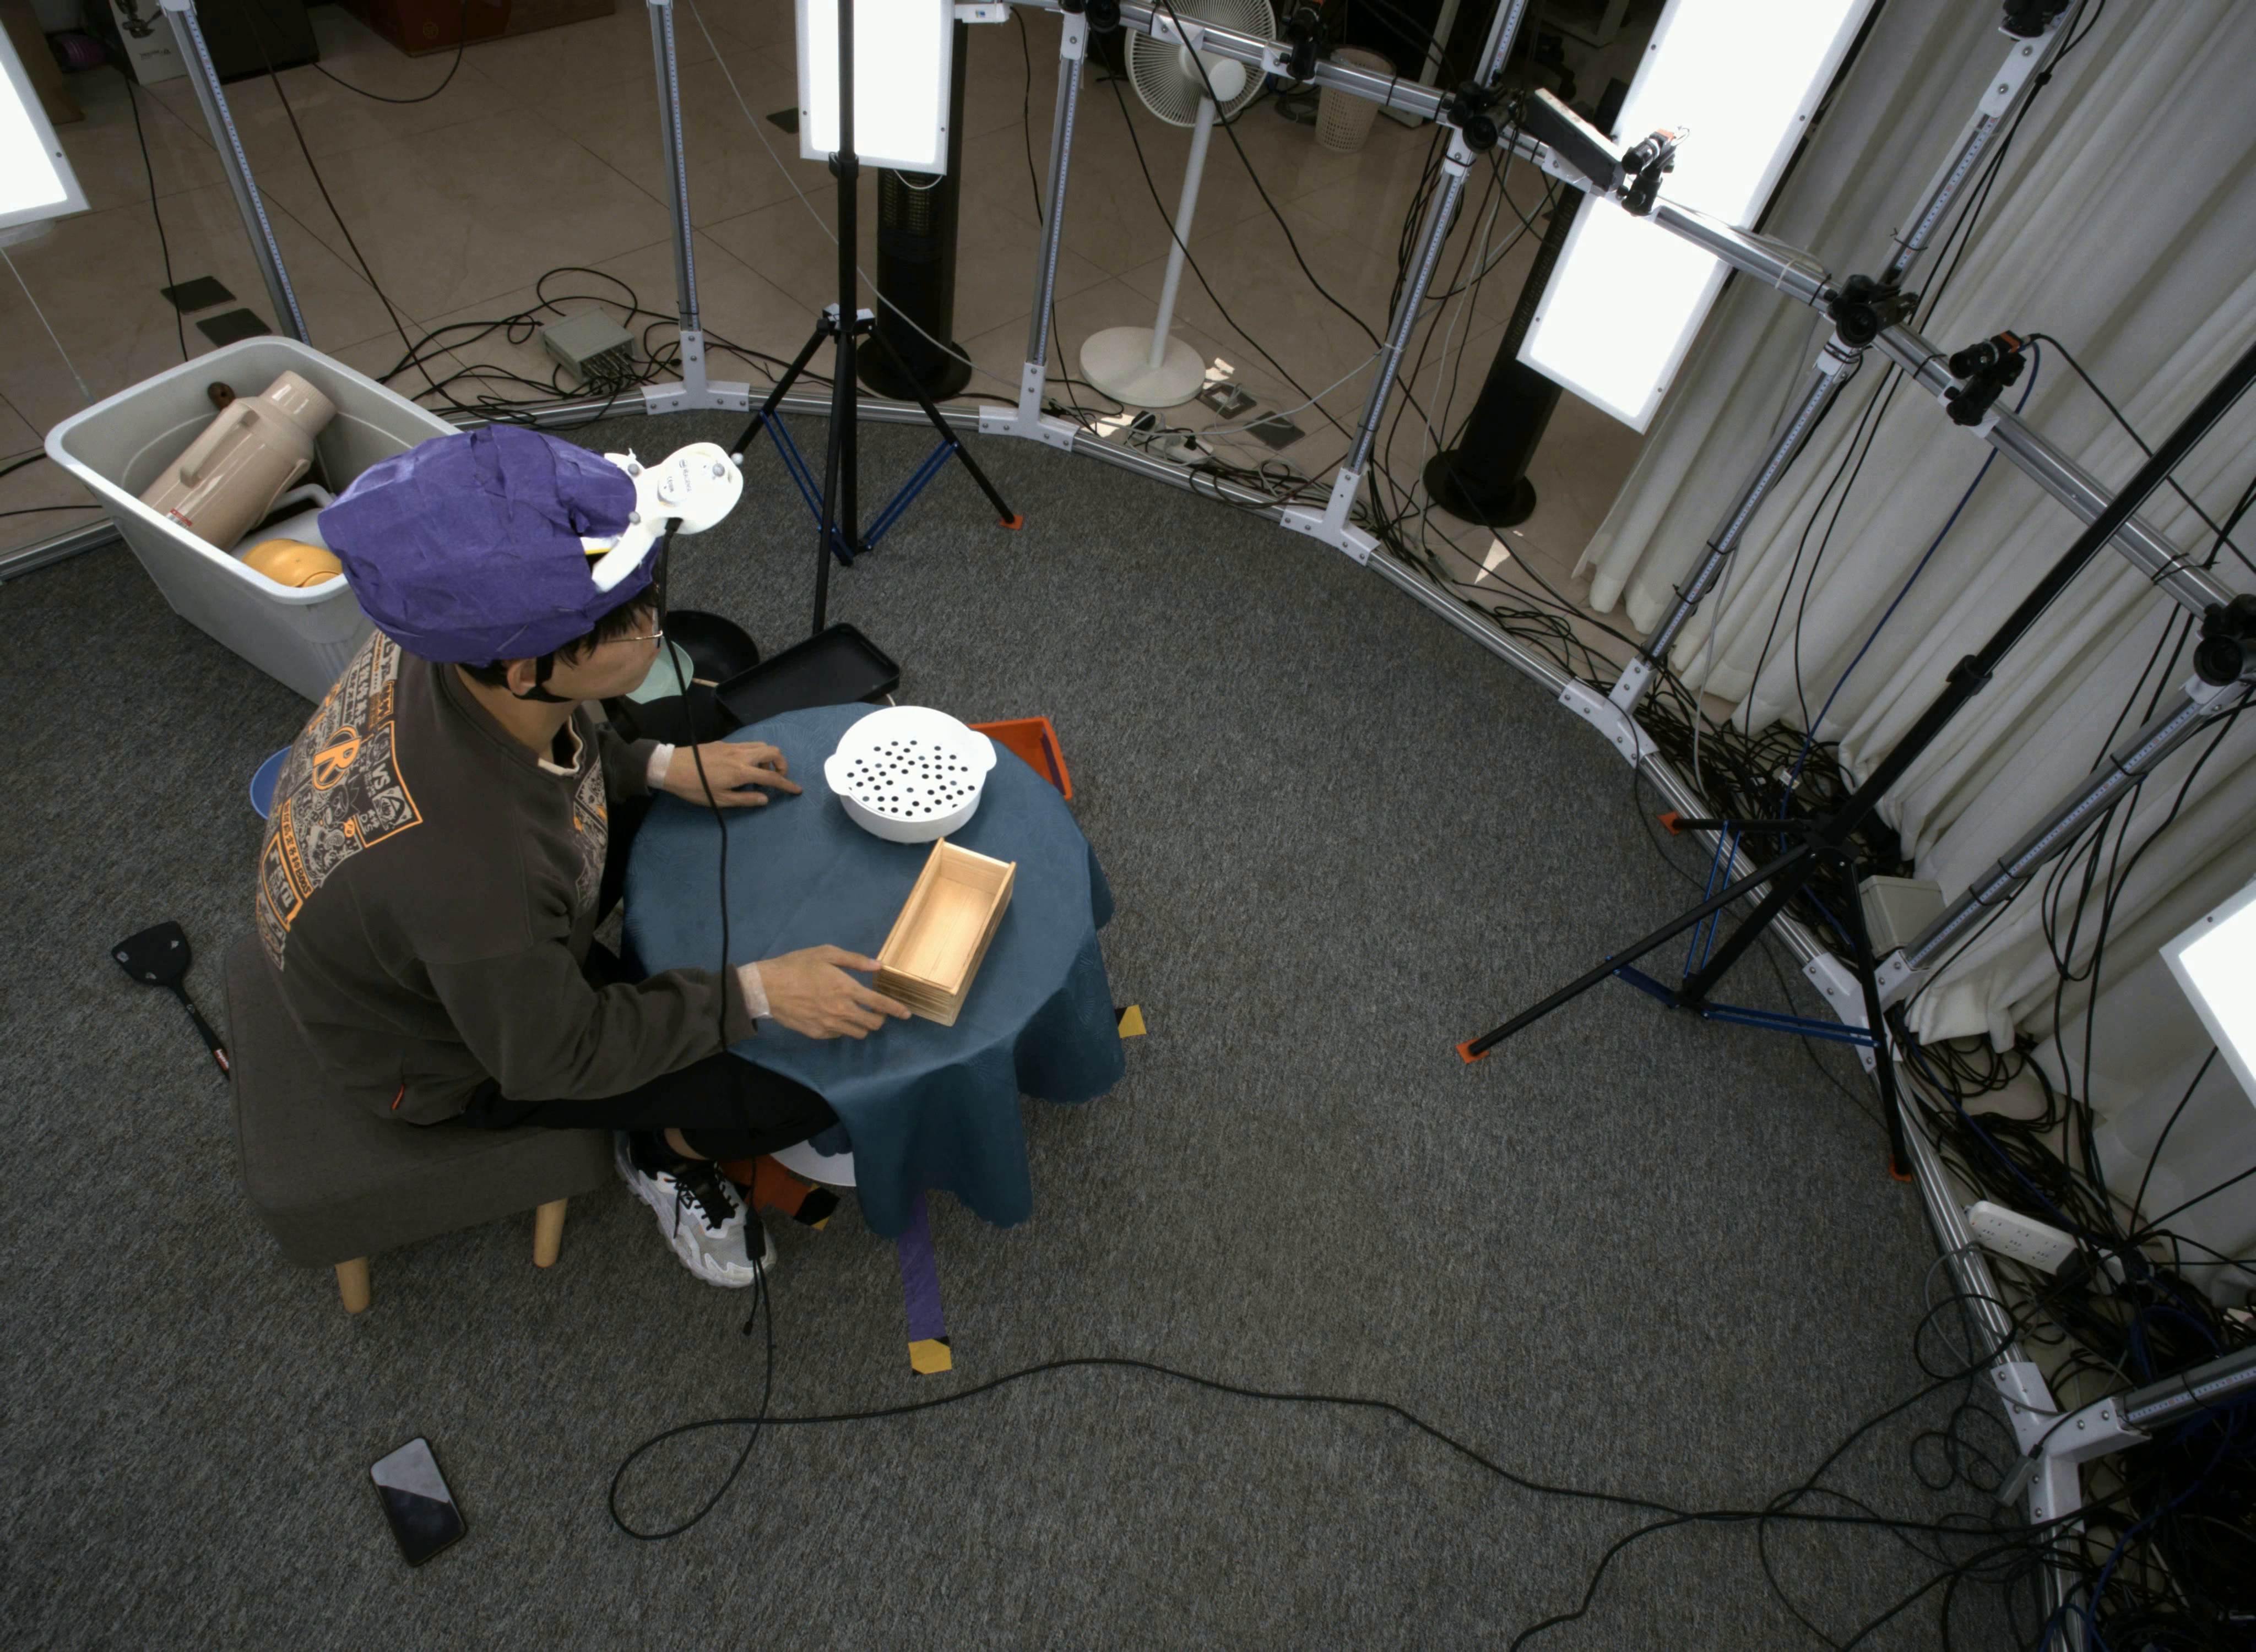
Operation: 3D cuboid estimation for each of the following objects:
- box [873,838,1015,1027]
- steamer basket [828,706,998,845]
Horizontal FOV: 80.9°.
[{"bbox_3d":[-0.229,0.130,1.639,0.106,0.082,0.209,19,52,3],"label":"box"},{"bbox_3d":[-0.292,-0.069,1.778,0.231,0.071,0.197,-12,57,-20],"label":"steamer basket"}]
